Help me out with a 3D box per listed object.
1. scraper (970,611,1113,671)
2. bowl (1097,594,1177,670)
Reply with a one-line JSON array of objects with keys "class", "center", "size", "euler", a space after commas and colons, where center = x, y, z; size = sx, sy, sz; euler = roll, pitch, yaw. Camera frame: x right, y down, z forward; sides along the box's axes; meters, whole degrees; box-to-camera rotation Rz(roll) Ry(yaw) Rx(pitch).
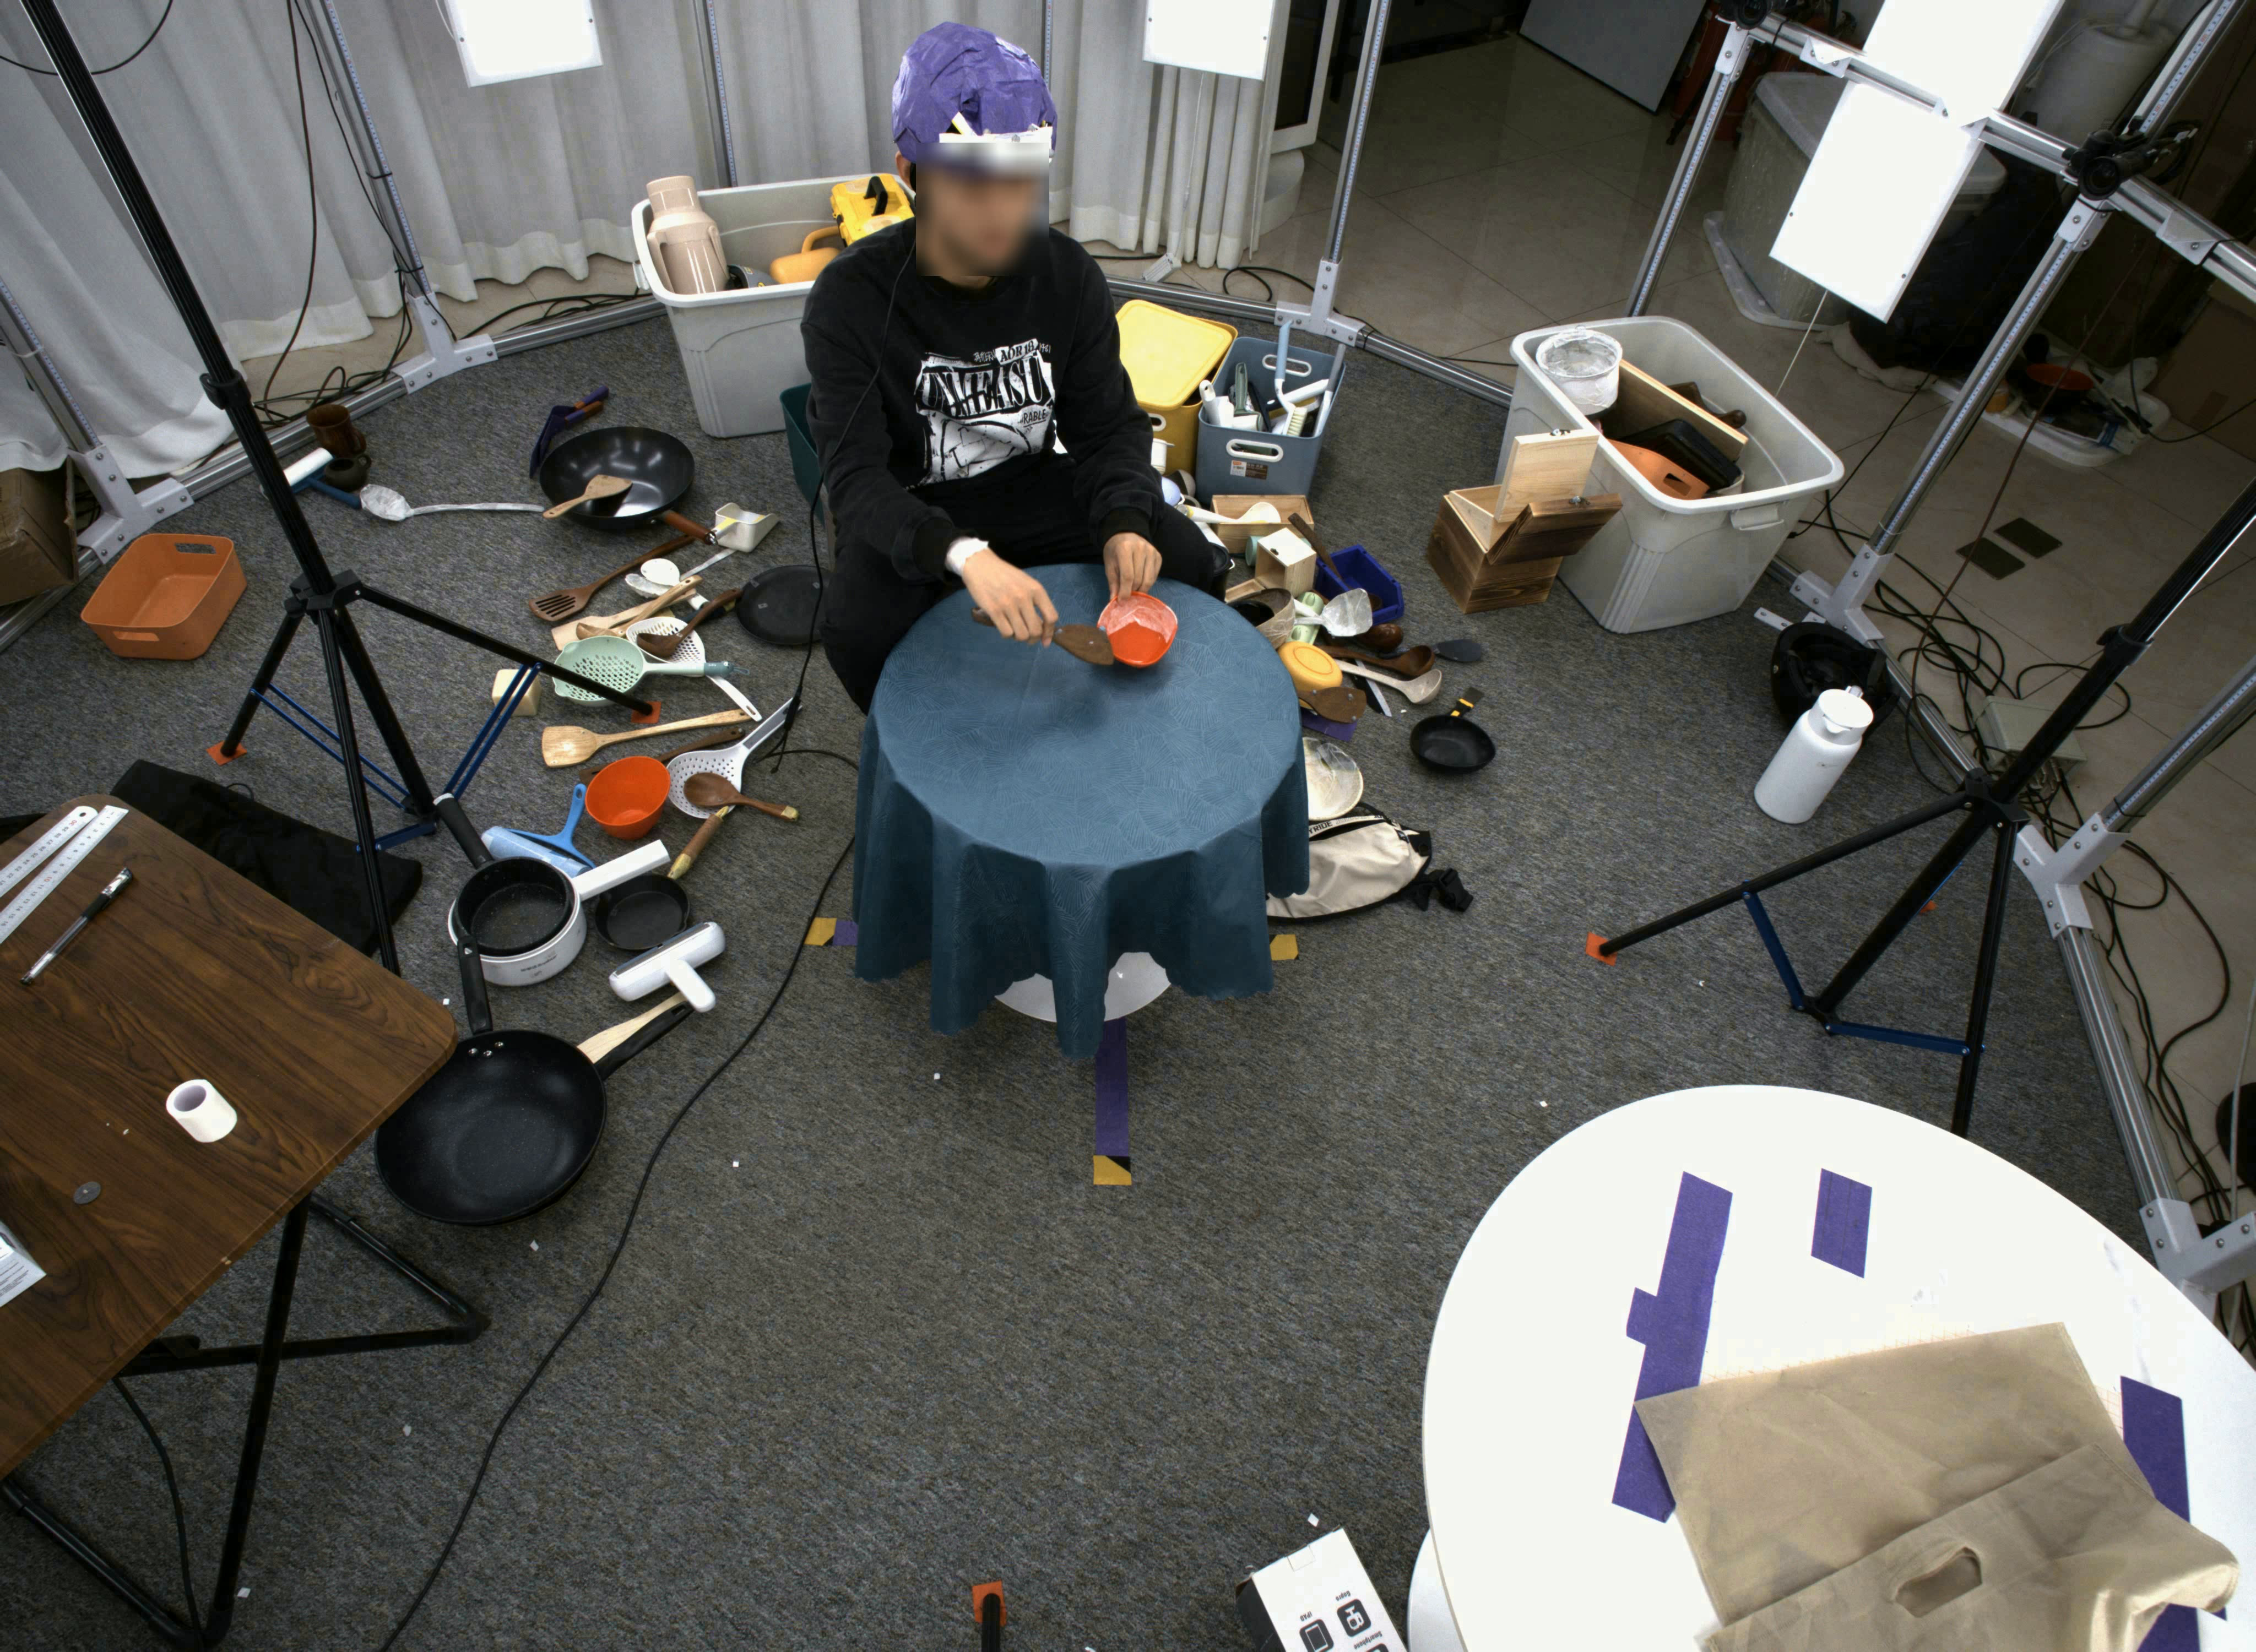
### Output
[{"class": "scraper", "center": [-0.117, -0.259, 1.757], "size": [0.209, 0.010, 0.078], "euler": [11, 46, -26]}, {"class": "bowl", "center": [0.013, -0.276, 1.880], "size": [0.119, 0.050, 0.121], "euler": [0, 70, -1]}]
